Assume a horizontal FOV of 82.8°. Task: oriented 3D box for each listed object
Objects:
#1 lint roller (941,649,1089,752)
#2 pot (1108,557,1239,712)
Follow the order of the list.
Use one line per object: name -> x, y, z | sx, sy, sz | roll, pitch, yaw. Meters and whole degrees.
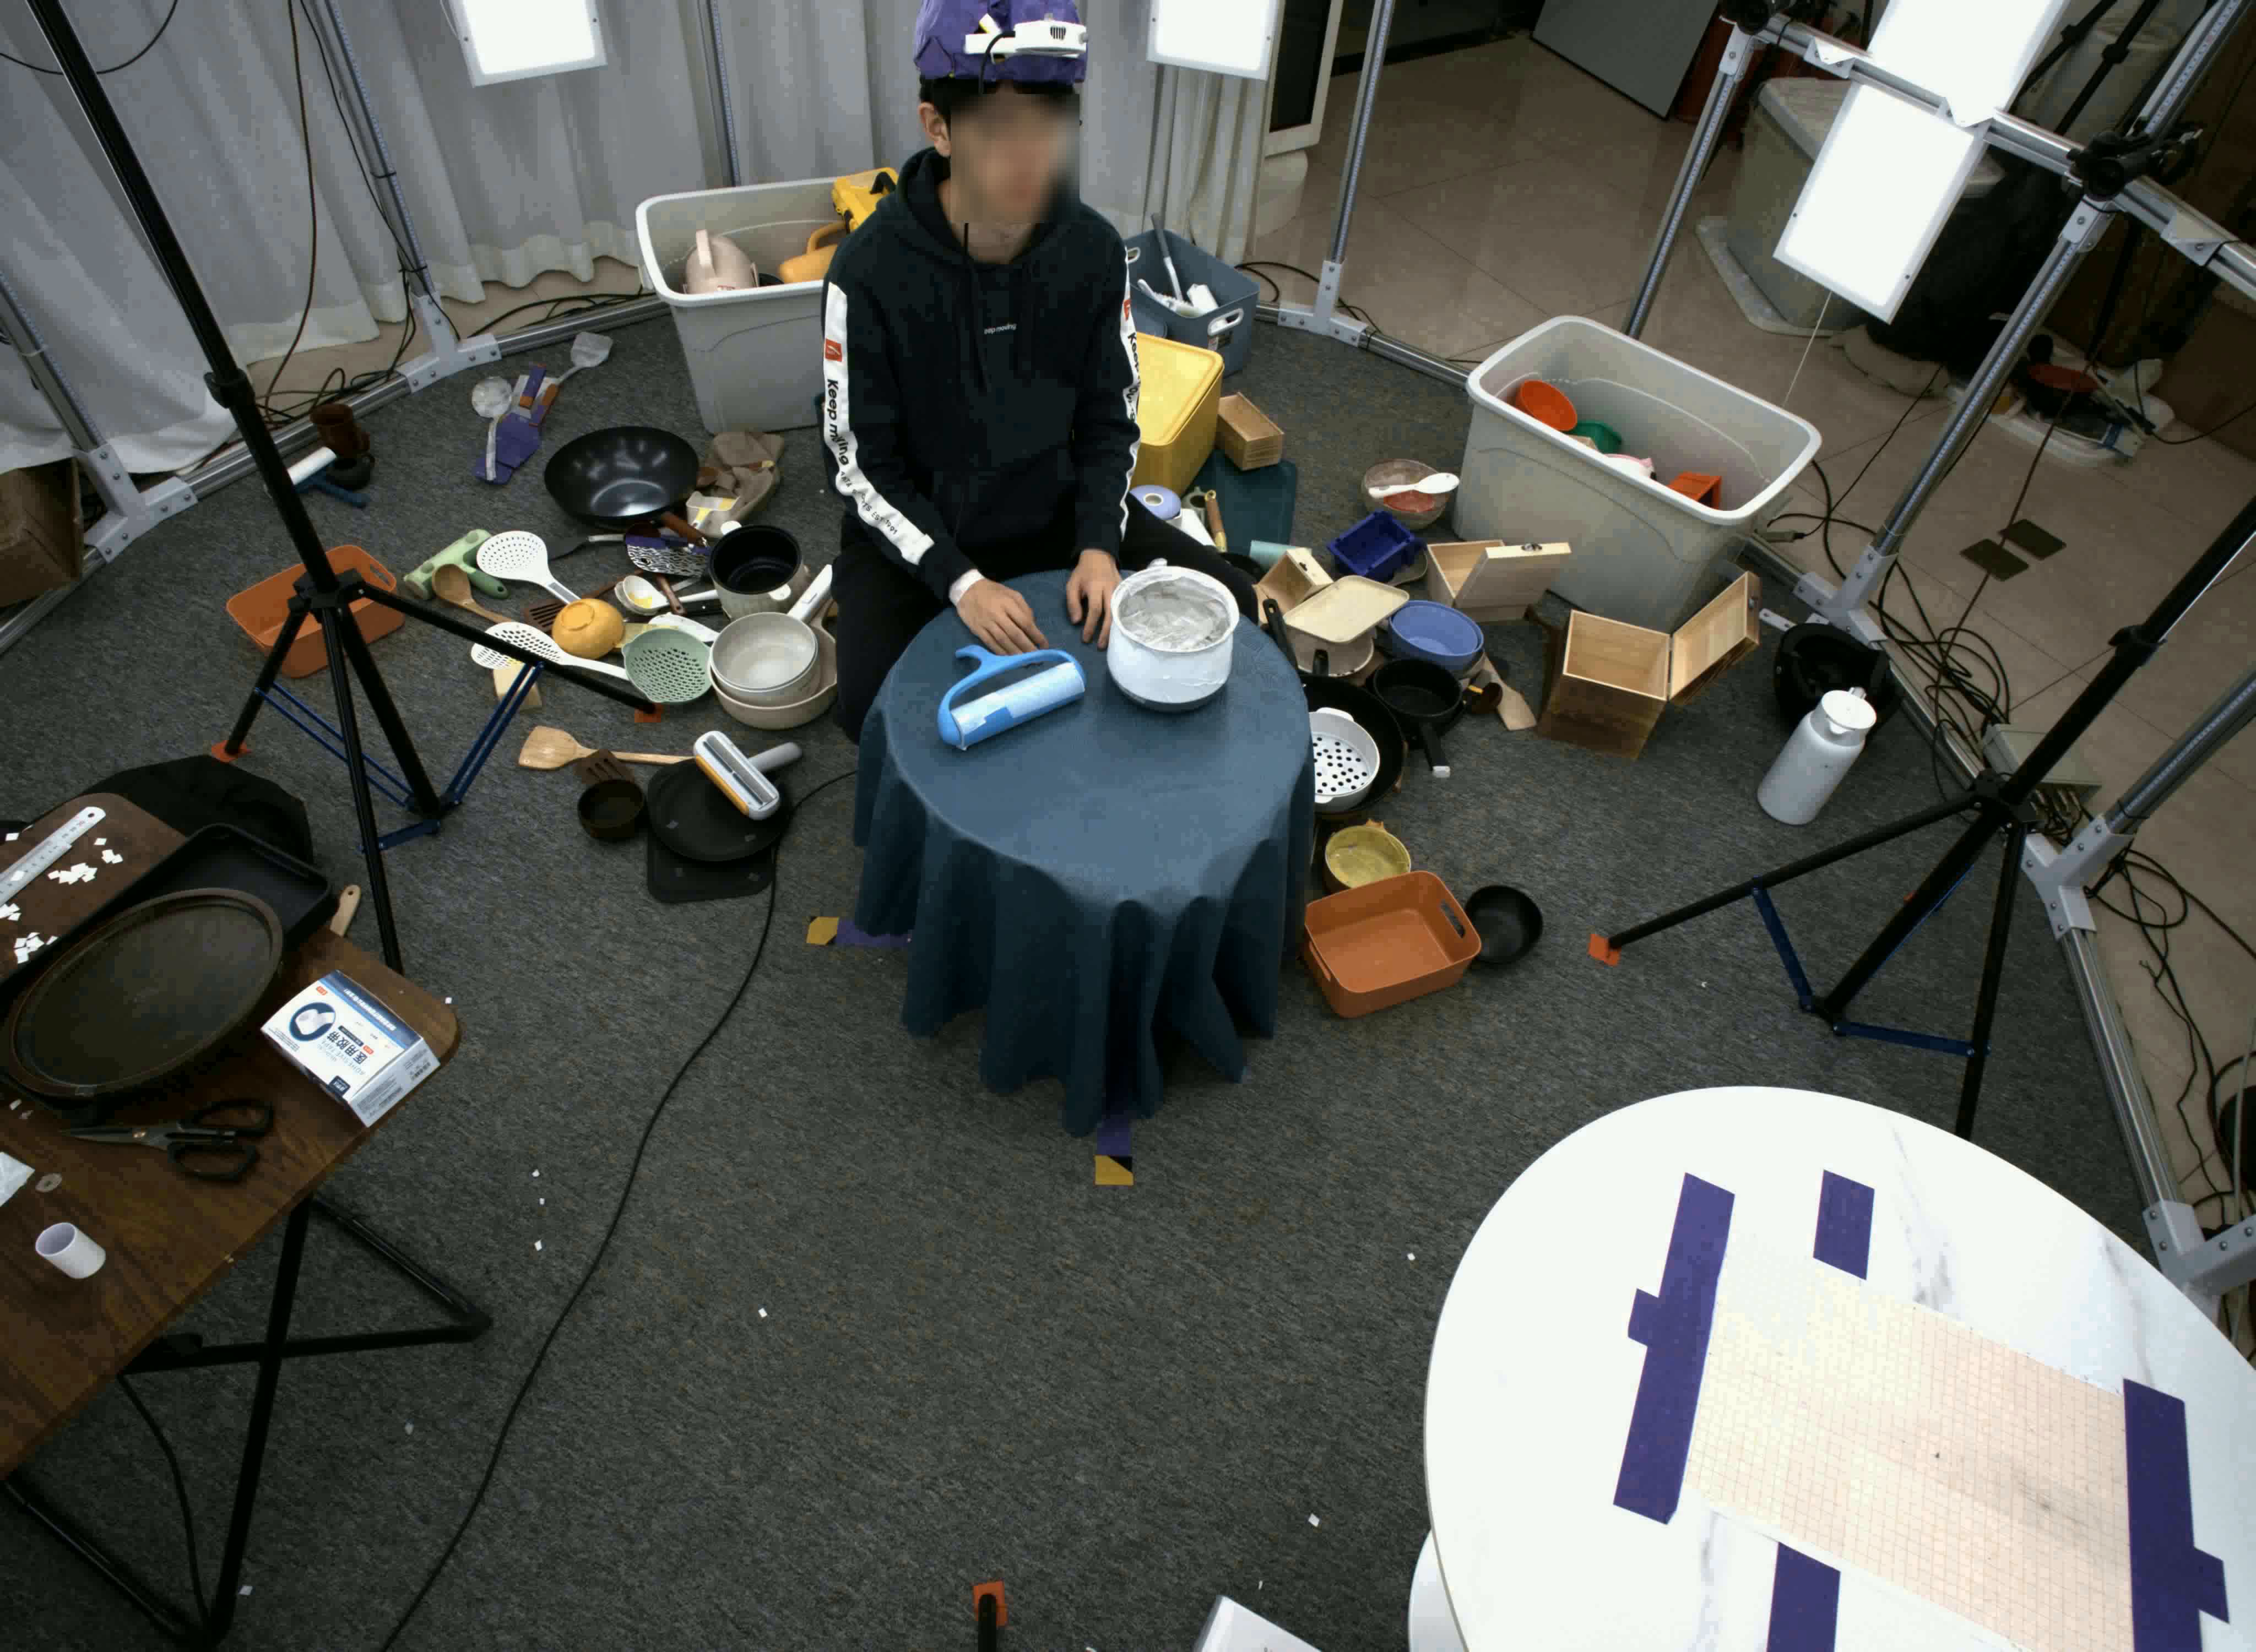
lint roller -> -0.188, -0.204, 1.797 | 0.230, 0.066, 0.183 | -30, 58, -24
pot -> 0.055, -0.281, 1.824 | 0.178, 0.133, 0.239 | -6, 51, -9
